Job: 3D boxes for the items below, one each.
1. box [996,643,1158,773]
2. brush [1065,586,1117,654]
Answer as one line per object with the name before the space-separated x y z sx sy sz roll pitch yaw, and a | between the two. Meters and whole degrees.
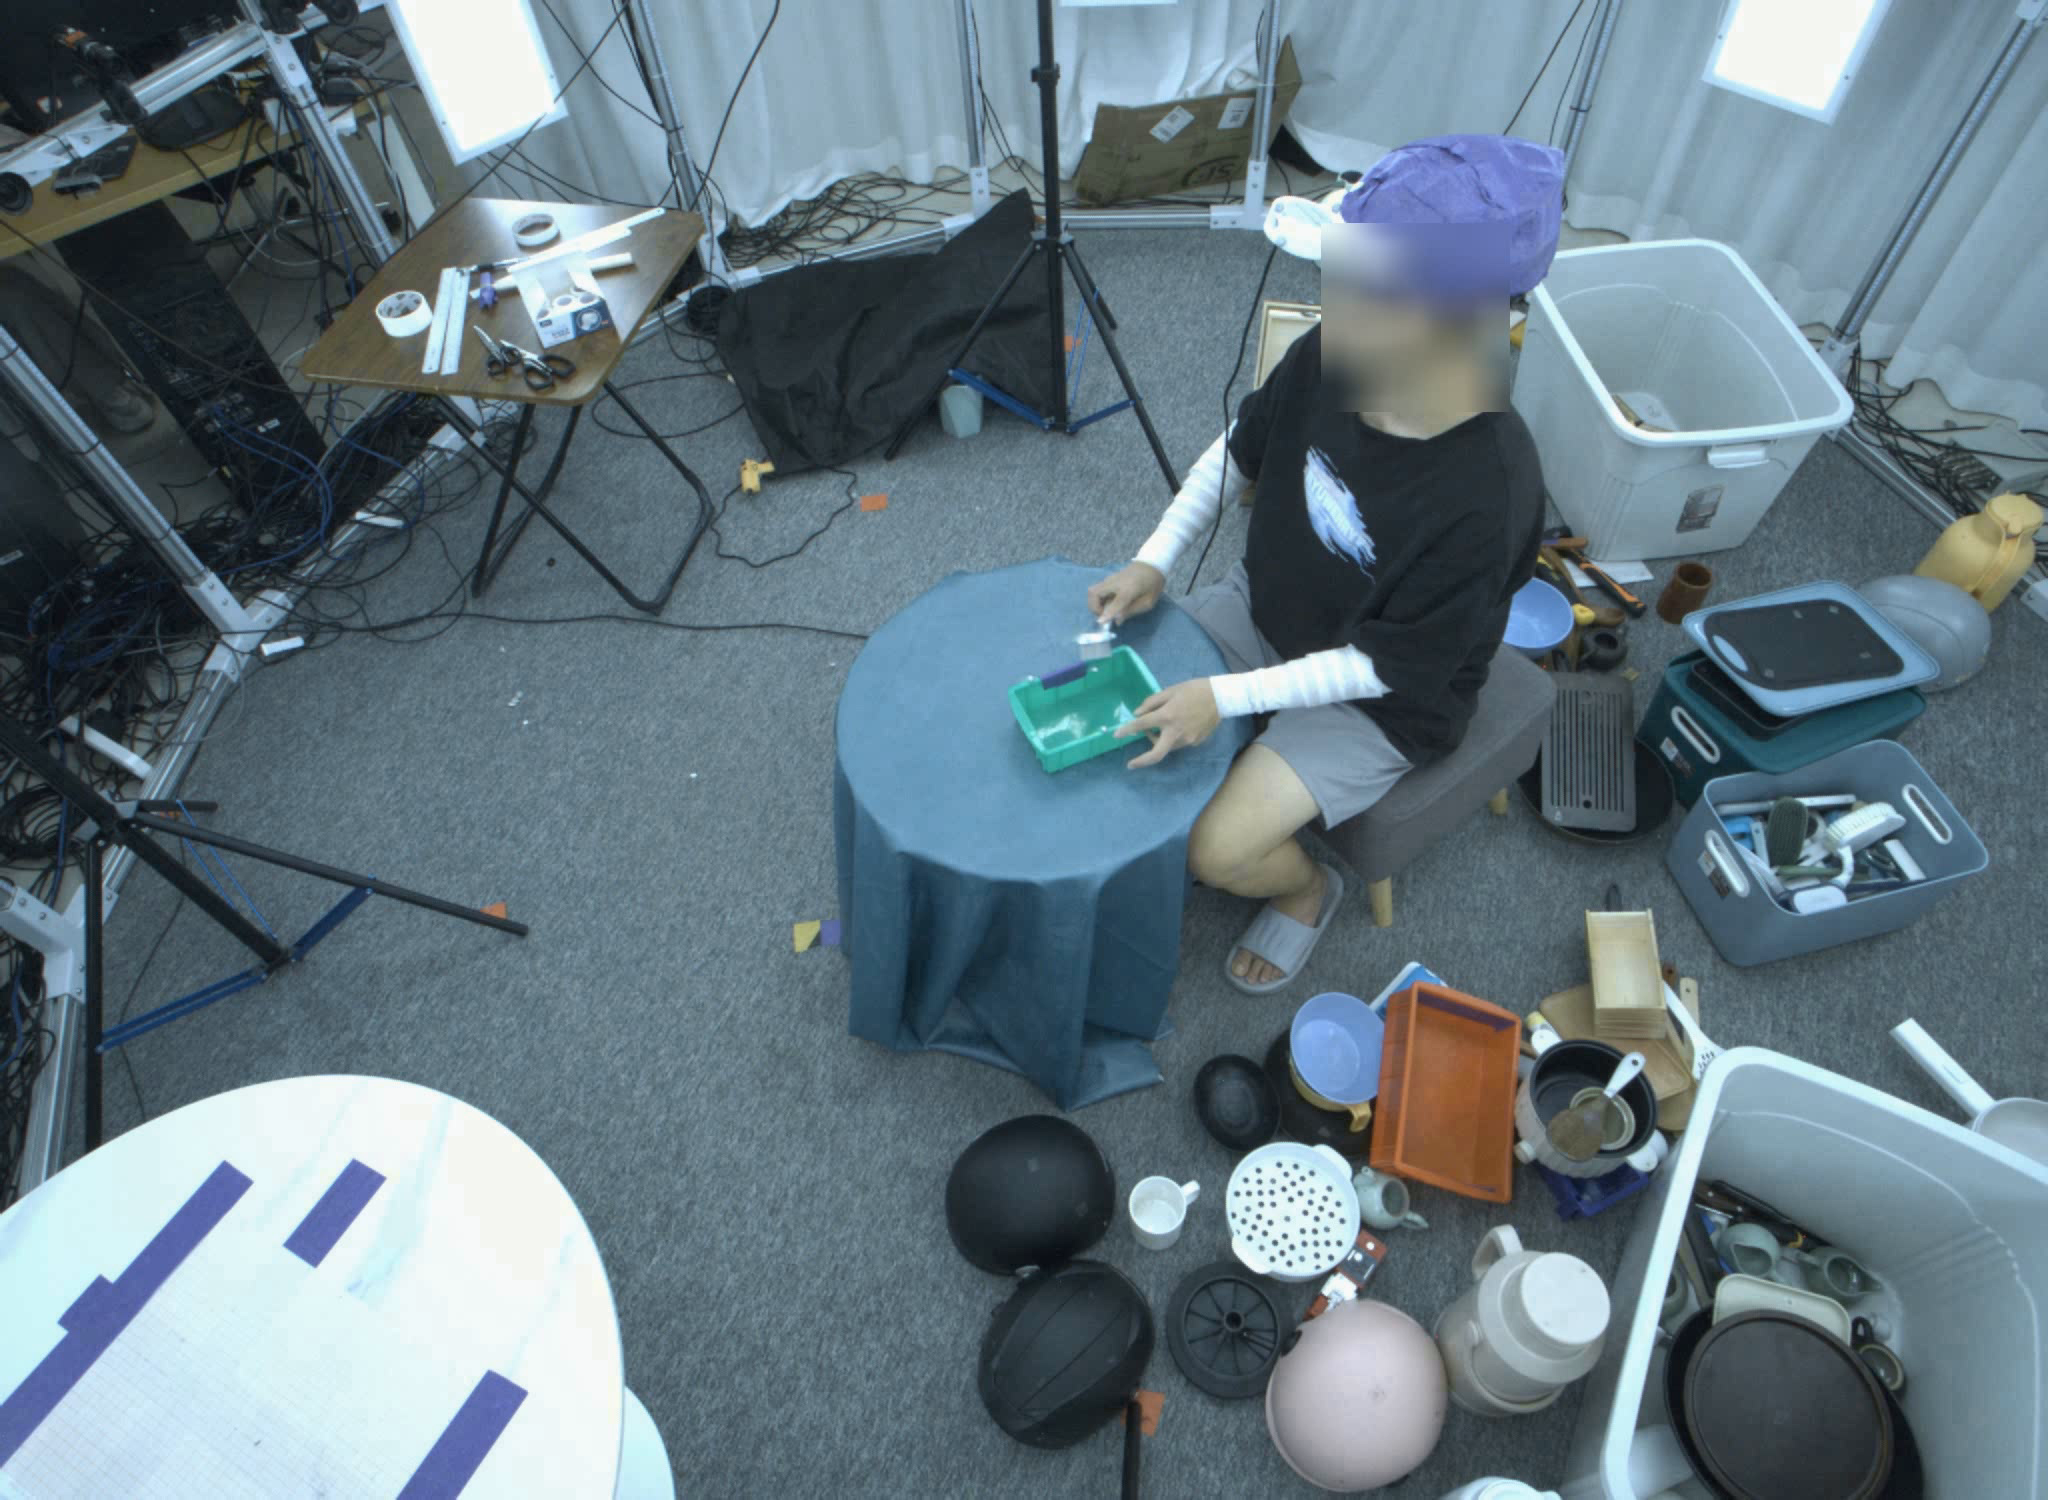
box | 0.077 -0.058 1.777 0.212 0.066 0.136 -24 53 -12
brush | 0.108 -0.193 1.847 0.034 0.051 0.244 -9 20 21
